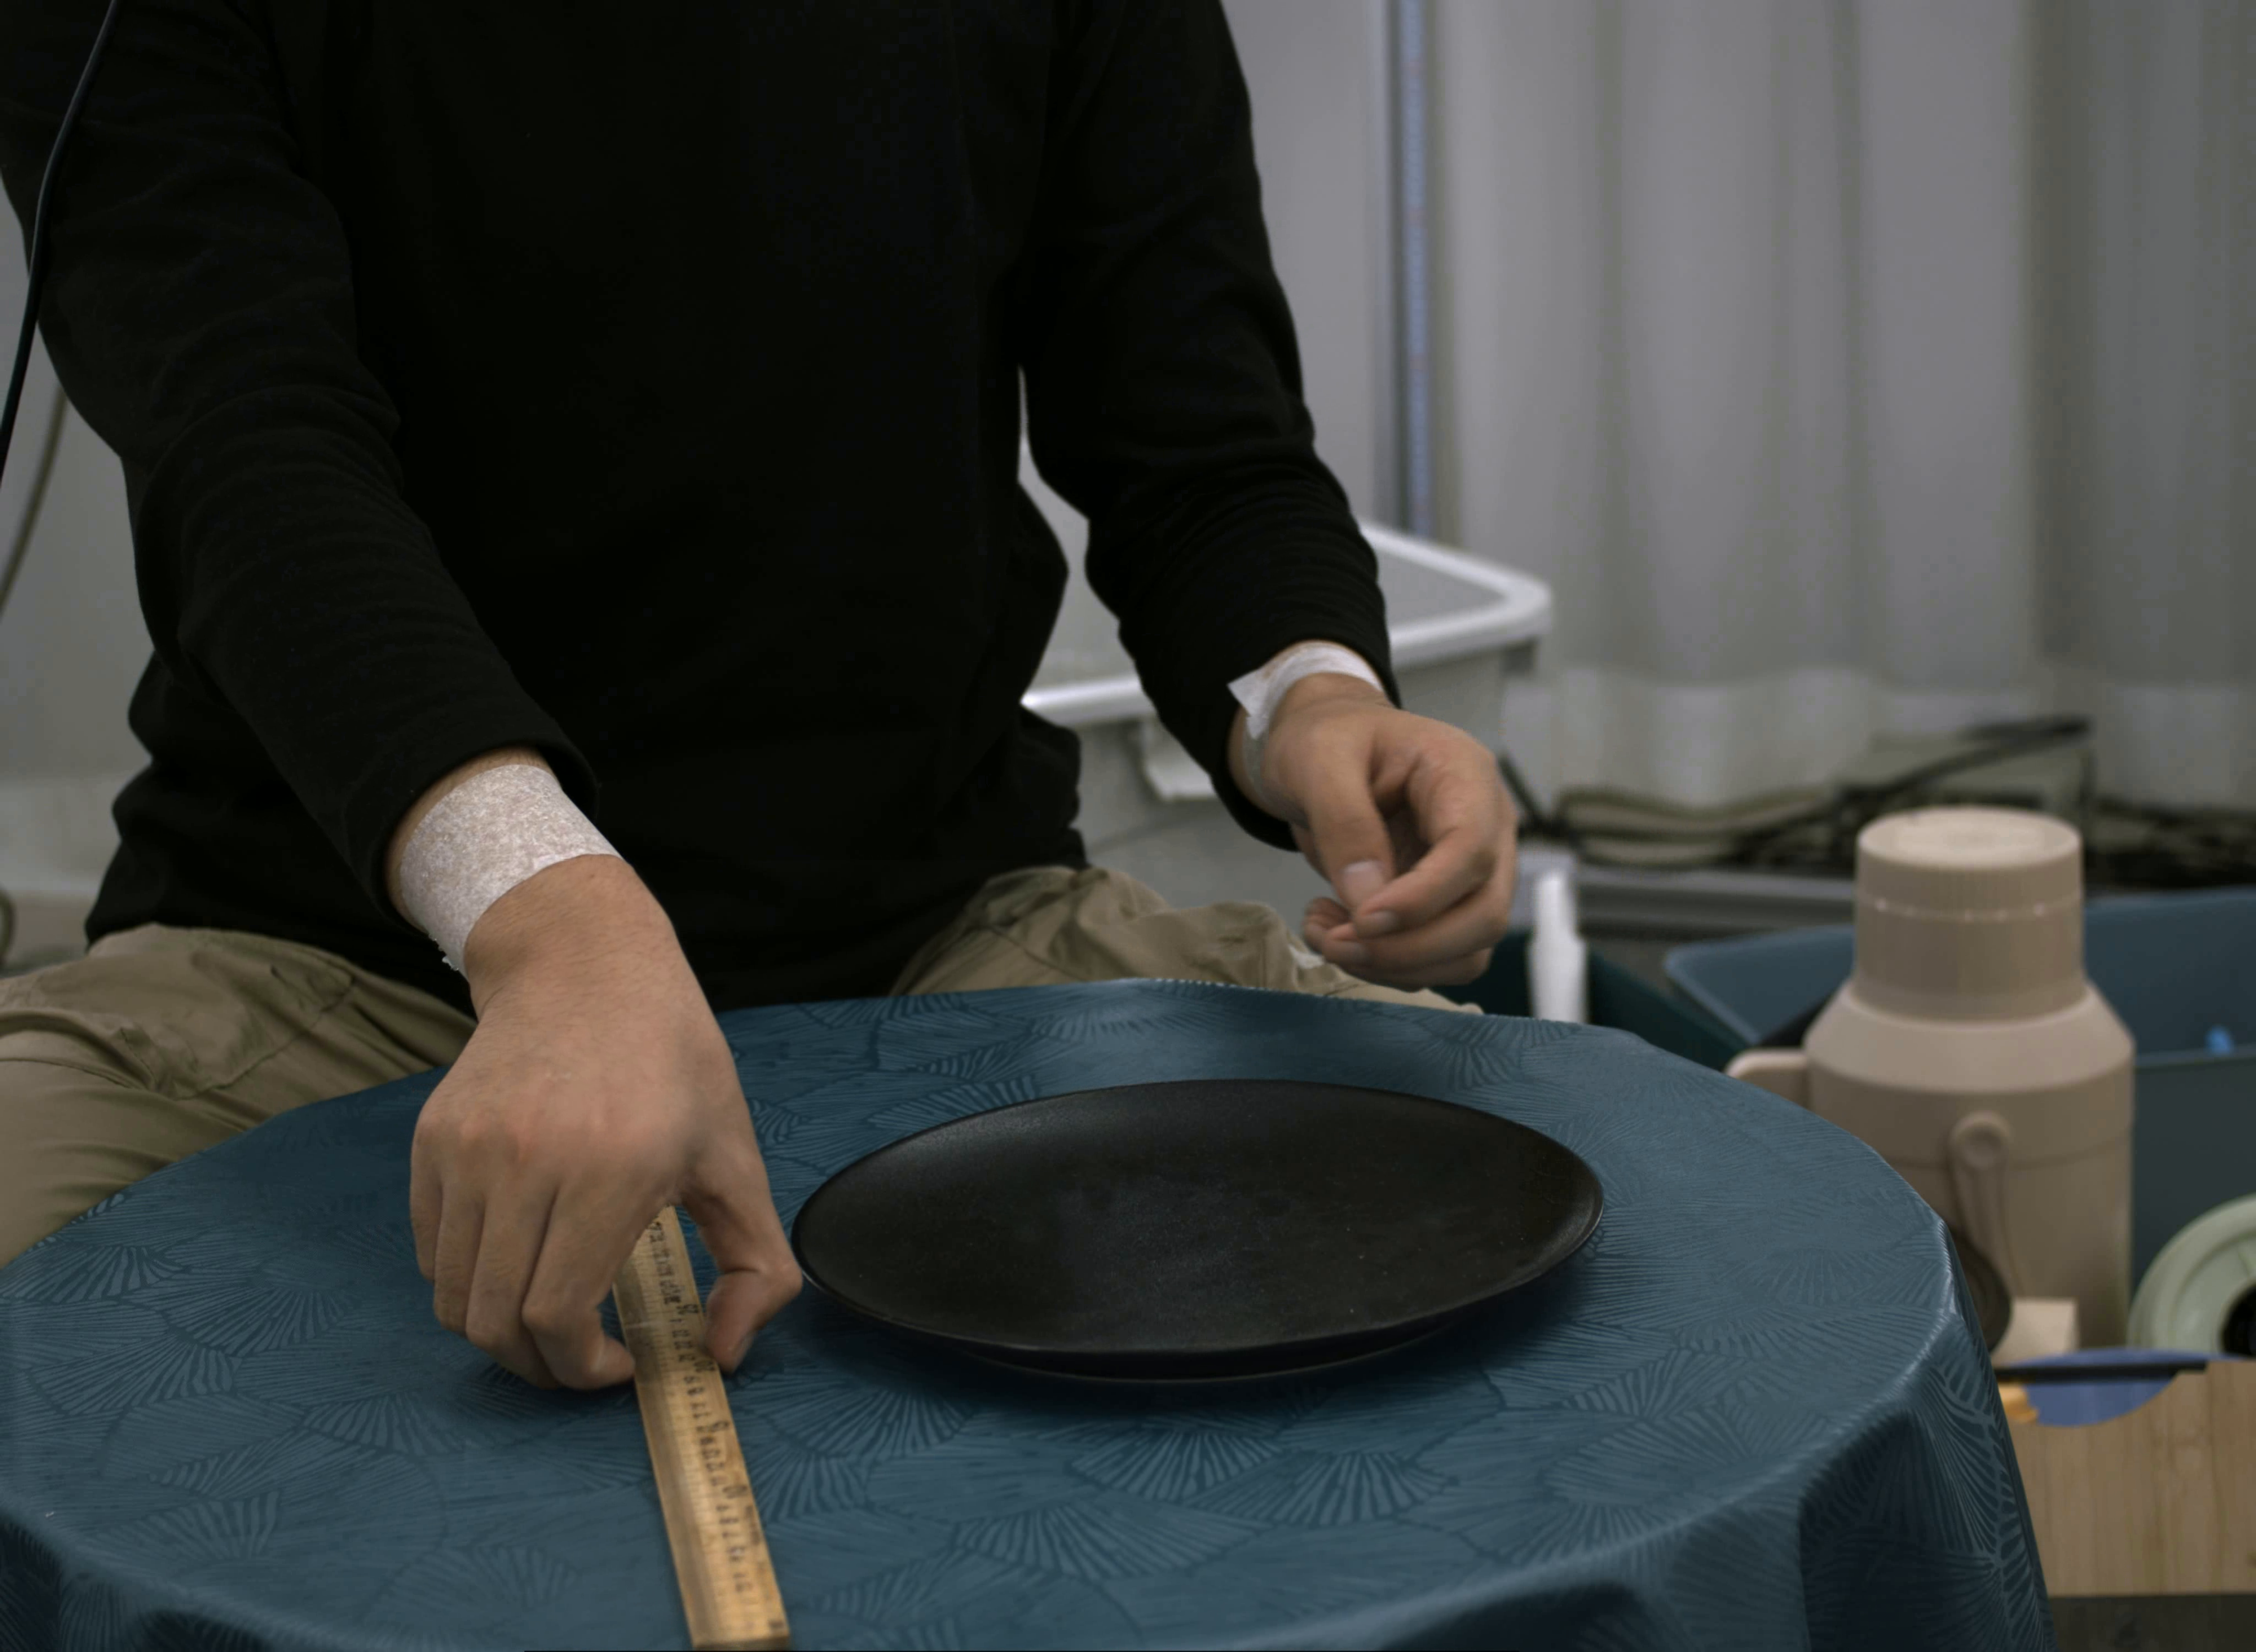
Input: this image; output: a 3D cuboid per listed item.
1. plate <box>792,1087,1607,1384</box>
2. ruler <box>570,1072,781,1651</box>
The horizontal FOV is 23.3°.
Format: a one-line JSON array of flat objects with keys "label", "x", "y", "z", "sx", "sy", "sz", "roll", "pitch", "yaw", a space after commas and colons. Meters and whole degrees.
[{"label": "plate", "x": 0.022, "y": 0.124, "z": 1.631, "sx": 0.243, "sy": 0.023, "sz": 0.246, "roll": -3, "pitch": 15, "yaw": 0}, {"label": "ruler", "x": -0.137, "y": 0.146, "z": 1.611, "sx": 0.026, "sy": 0.006, "sz": 0.504, "roll": -4, "pitch": 14, "yaw": -8}]
